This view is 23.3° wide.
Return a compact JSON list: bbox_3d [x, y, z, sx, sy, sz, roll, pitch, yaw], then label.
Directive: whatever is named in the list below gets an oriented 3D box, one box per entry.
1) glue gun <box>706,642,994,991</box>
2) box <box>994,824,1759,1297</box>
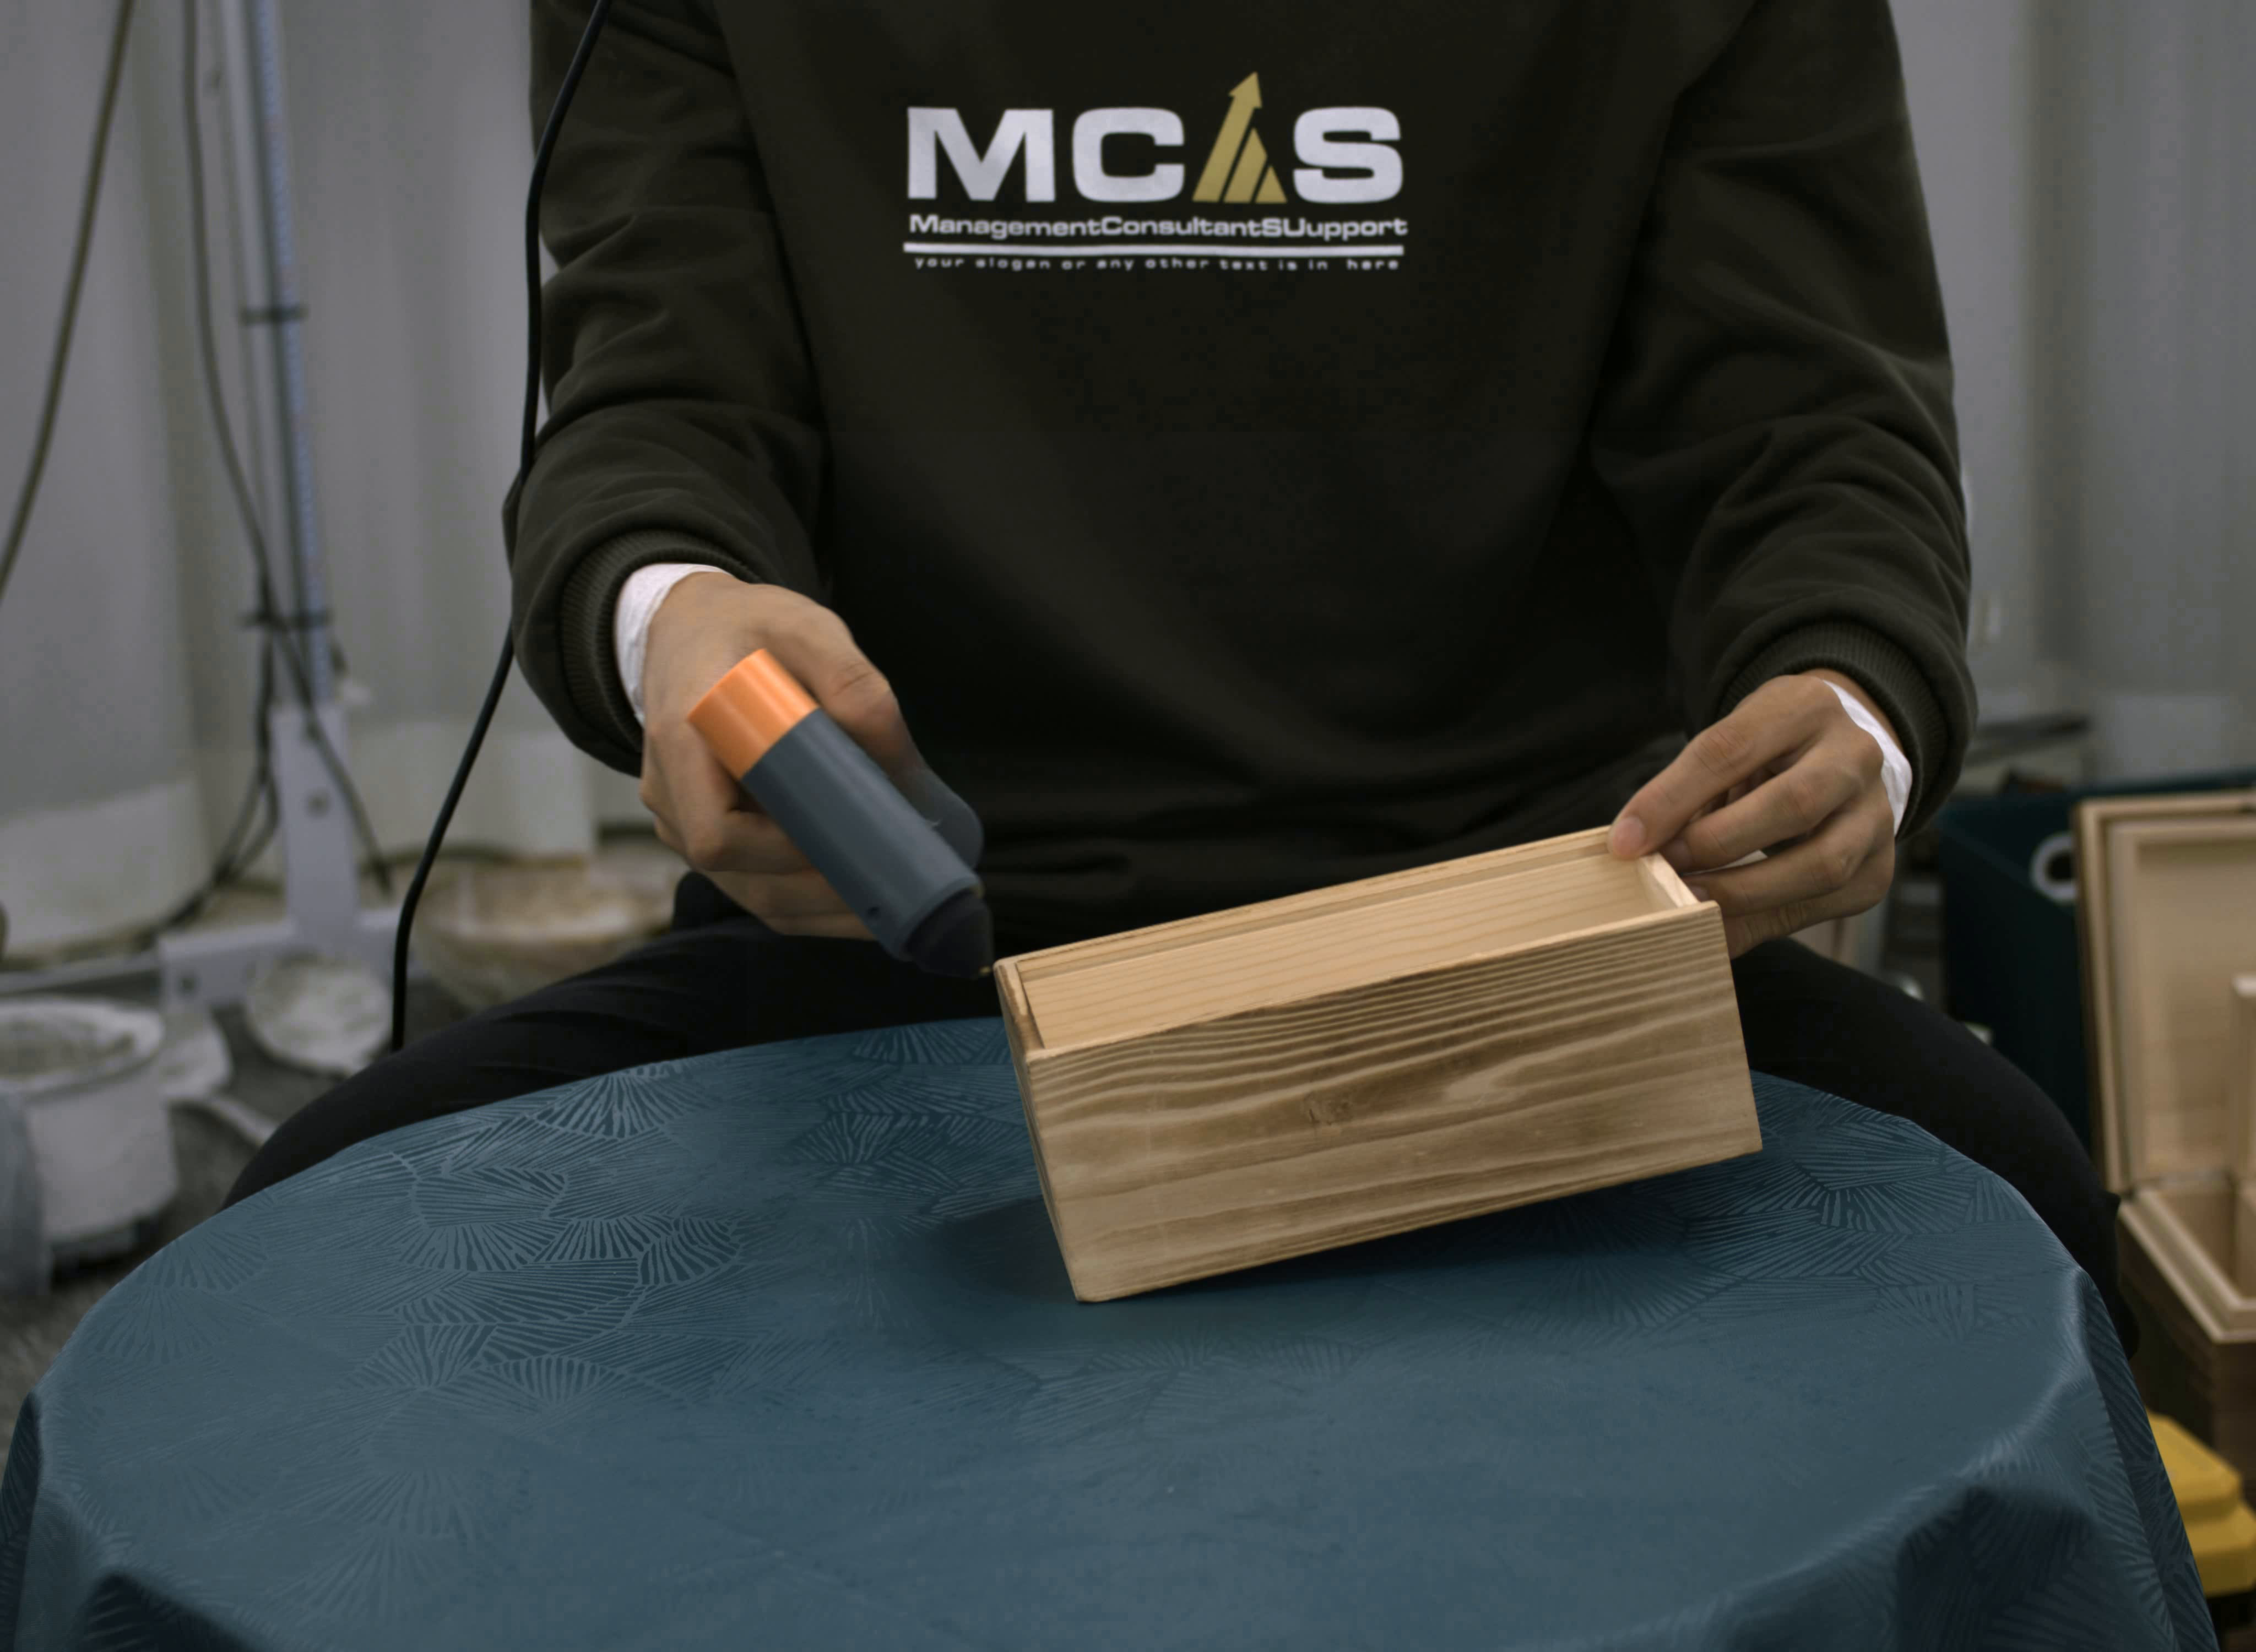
[{"bbox_3d":[-0.076,-0.001,1.662,0.041,0.118,0.140,-39,0,4],"label":"glue gun"},{"bbox_3d":[0.073,0.070,1.664,0.211,0.080,0.108,-12,14,-4],"label":"box"}]
